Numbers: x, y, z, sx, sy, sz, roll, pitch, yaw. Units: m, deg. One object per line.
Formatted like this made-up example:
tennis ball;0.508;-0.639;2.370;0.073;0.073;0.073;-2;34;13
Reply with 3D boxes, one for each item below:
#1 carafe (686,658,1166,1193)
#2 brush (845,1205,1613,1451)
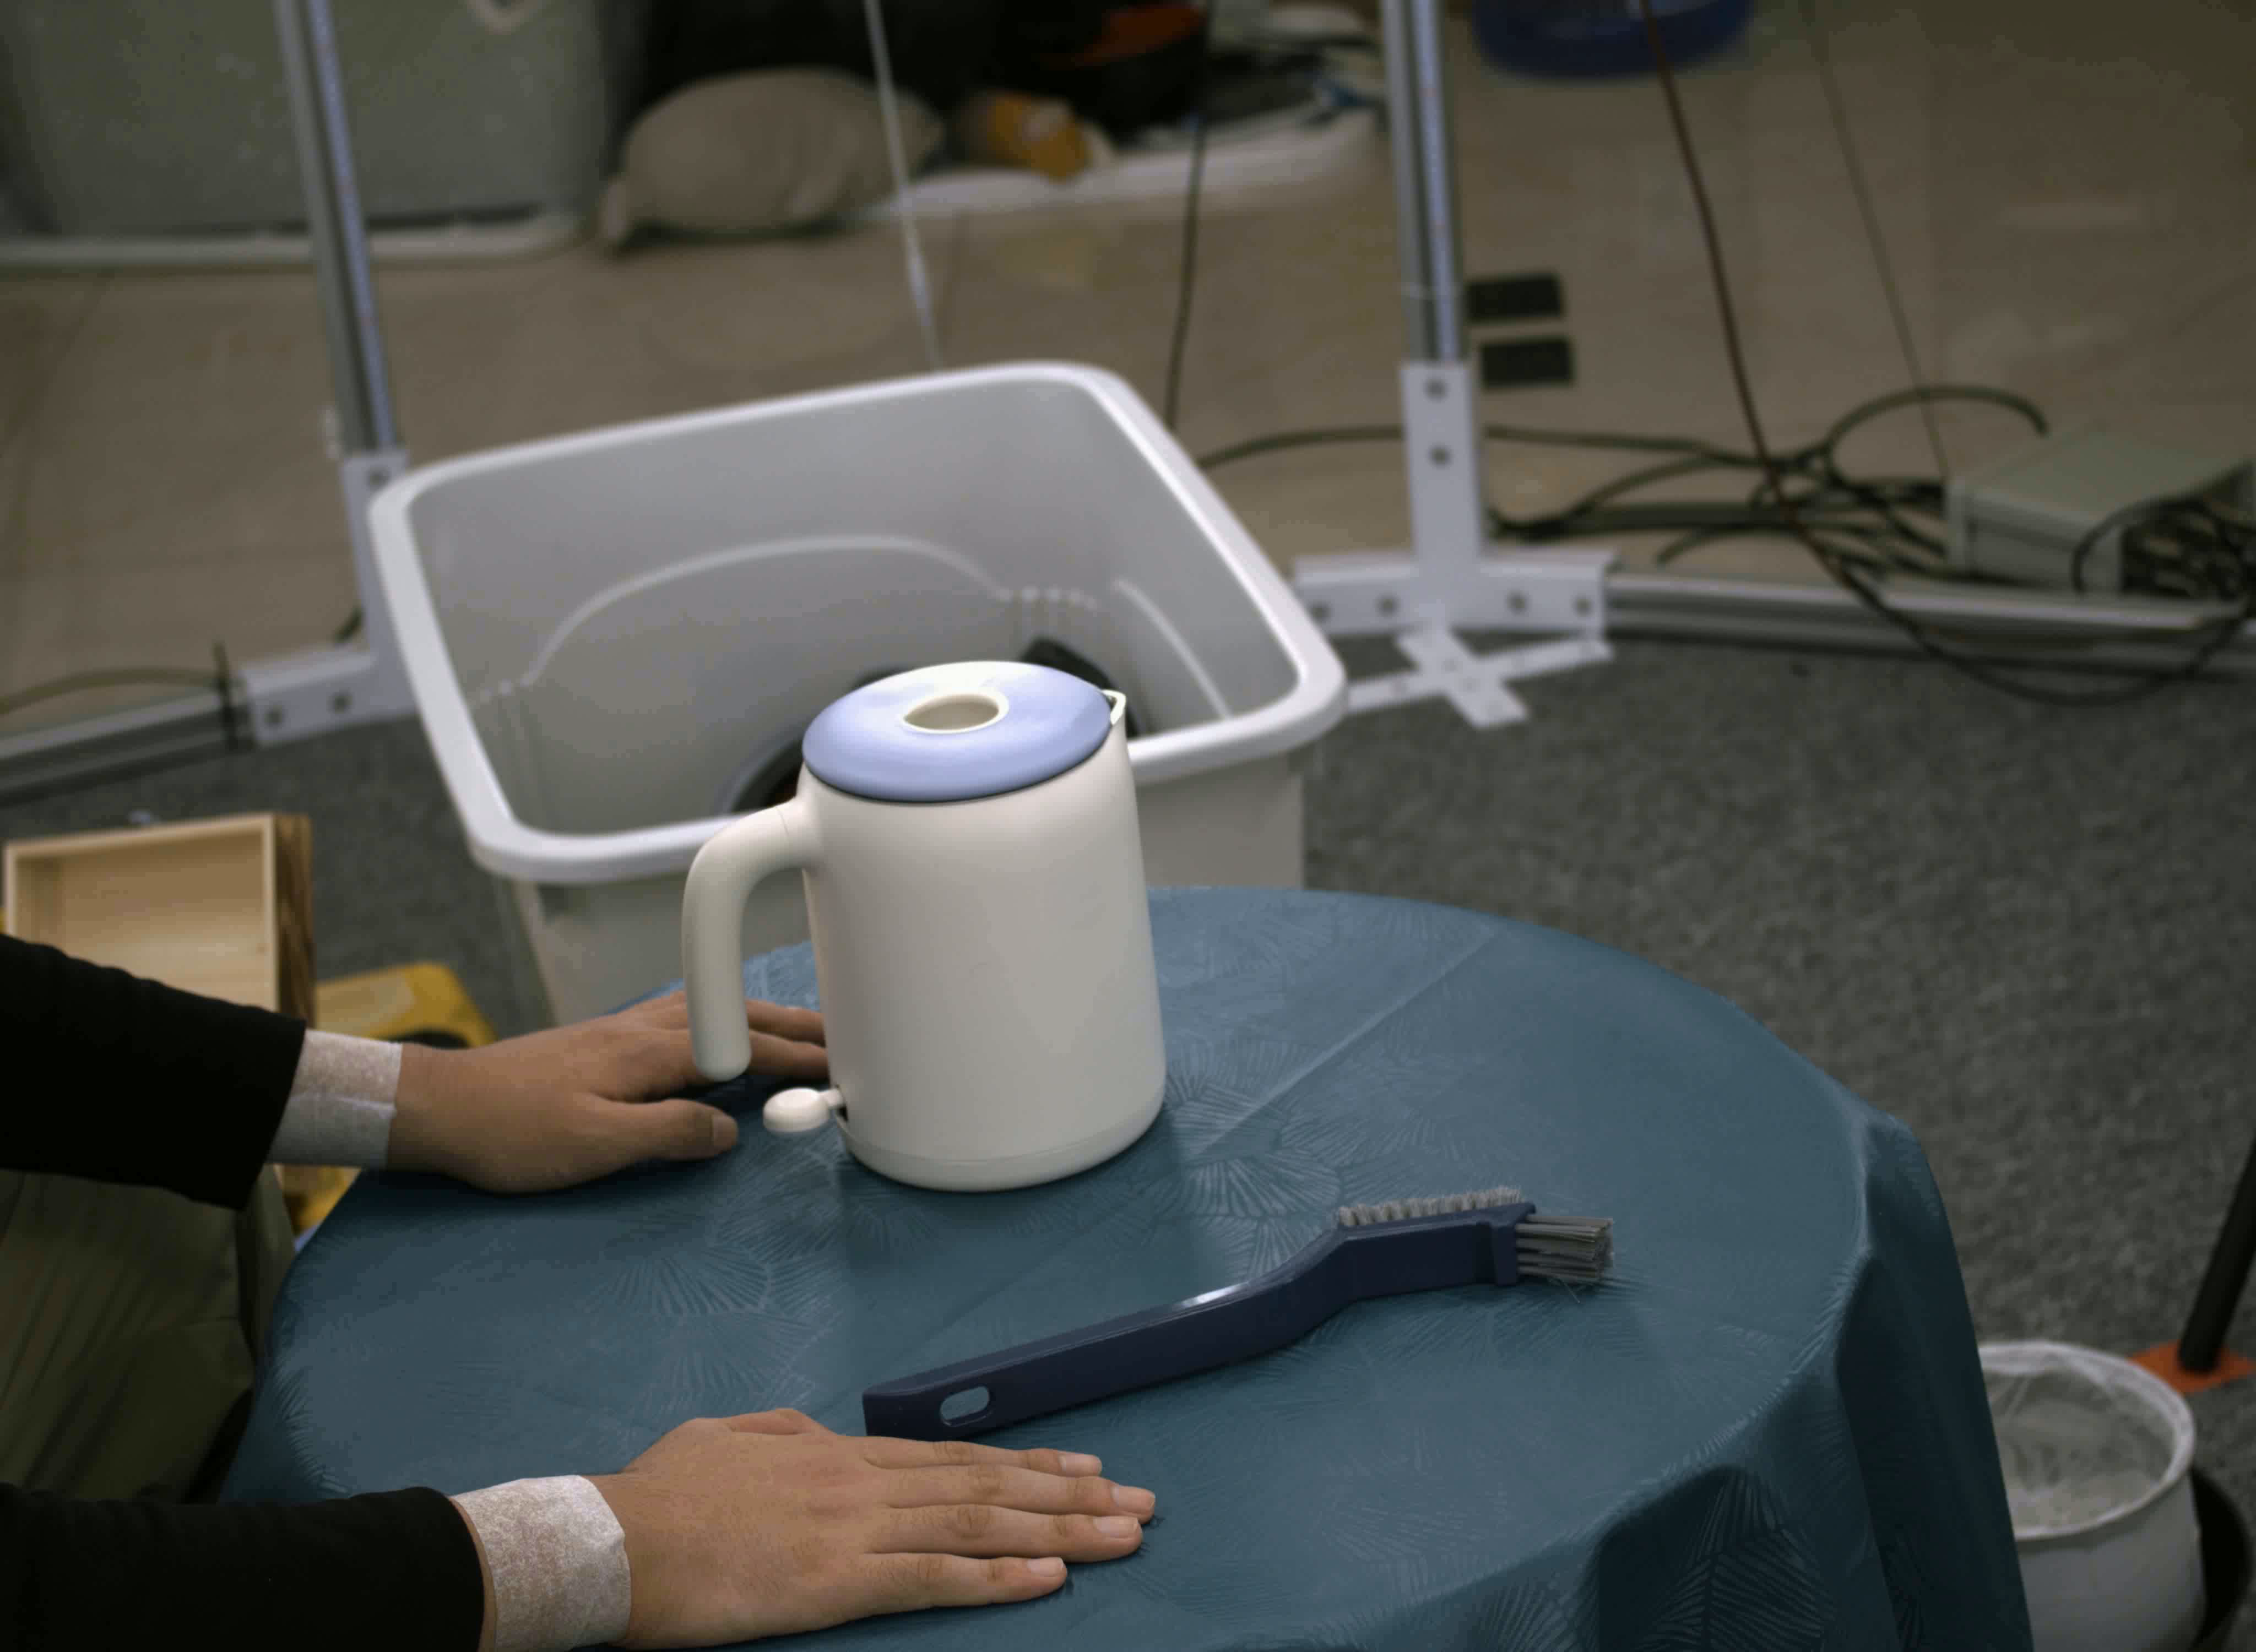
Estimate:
carafe;-0.079;0.044;2.166;0.190;0.185;0.130;-16;27;-18
brush;0.035;0.180;2.016;0.272;0.034;0.094;-17;30;-24
